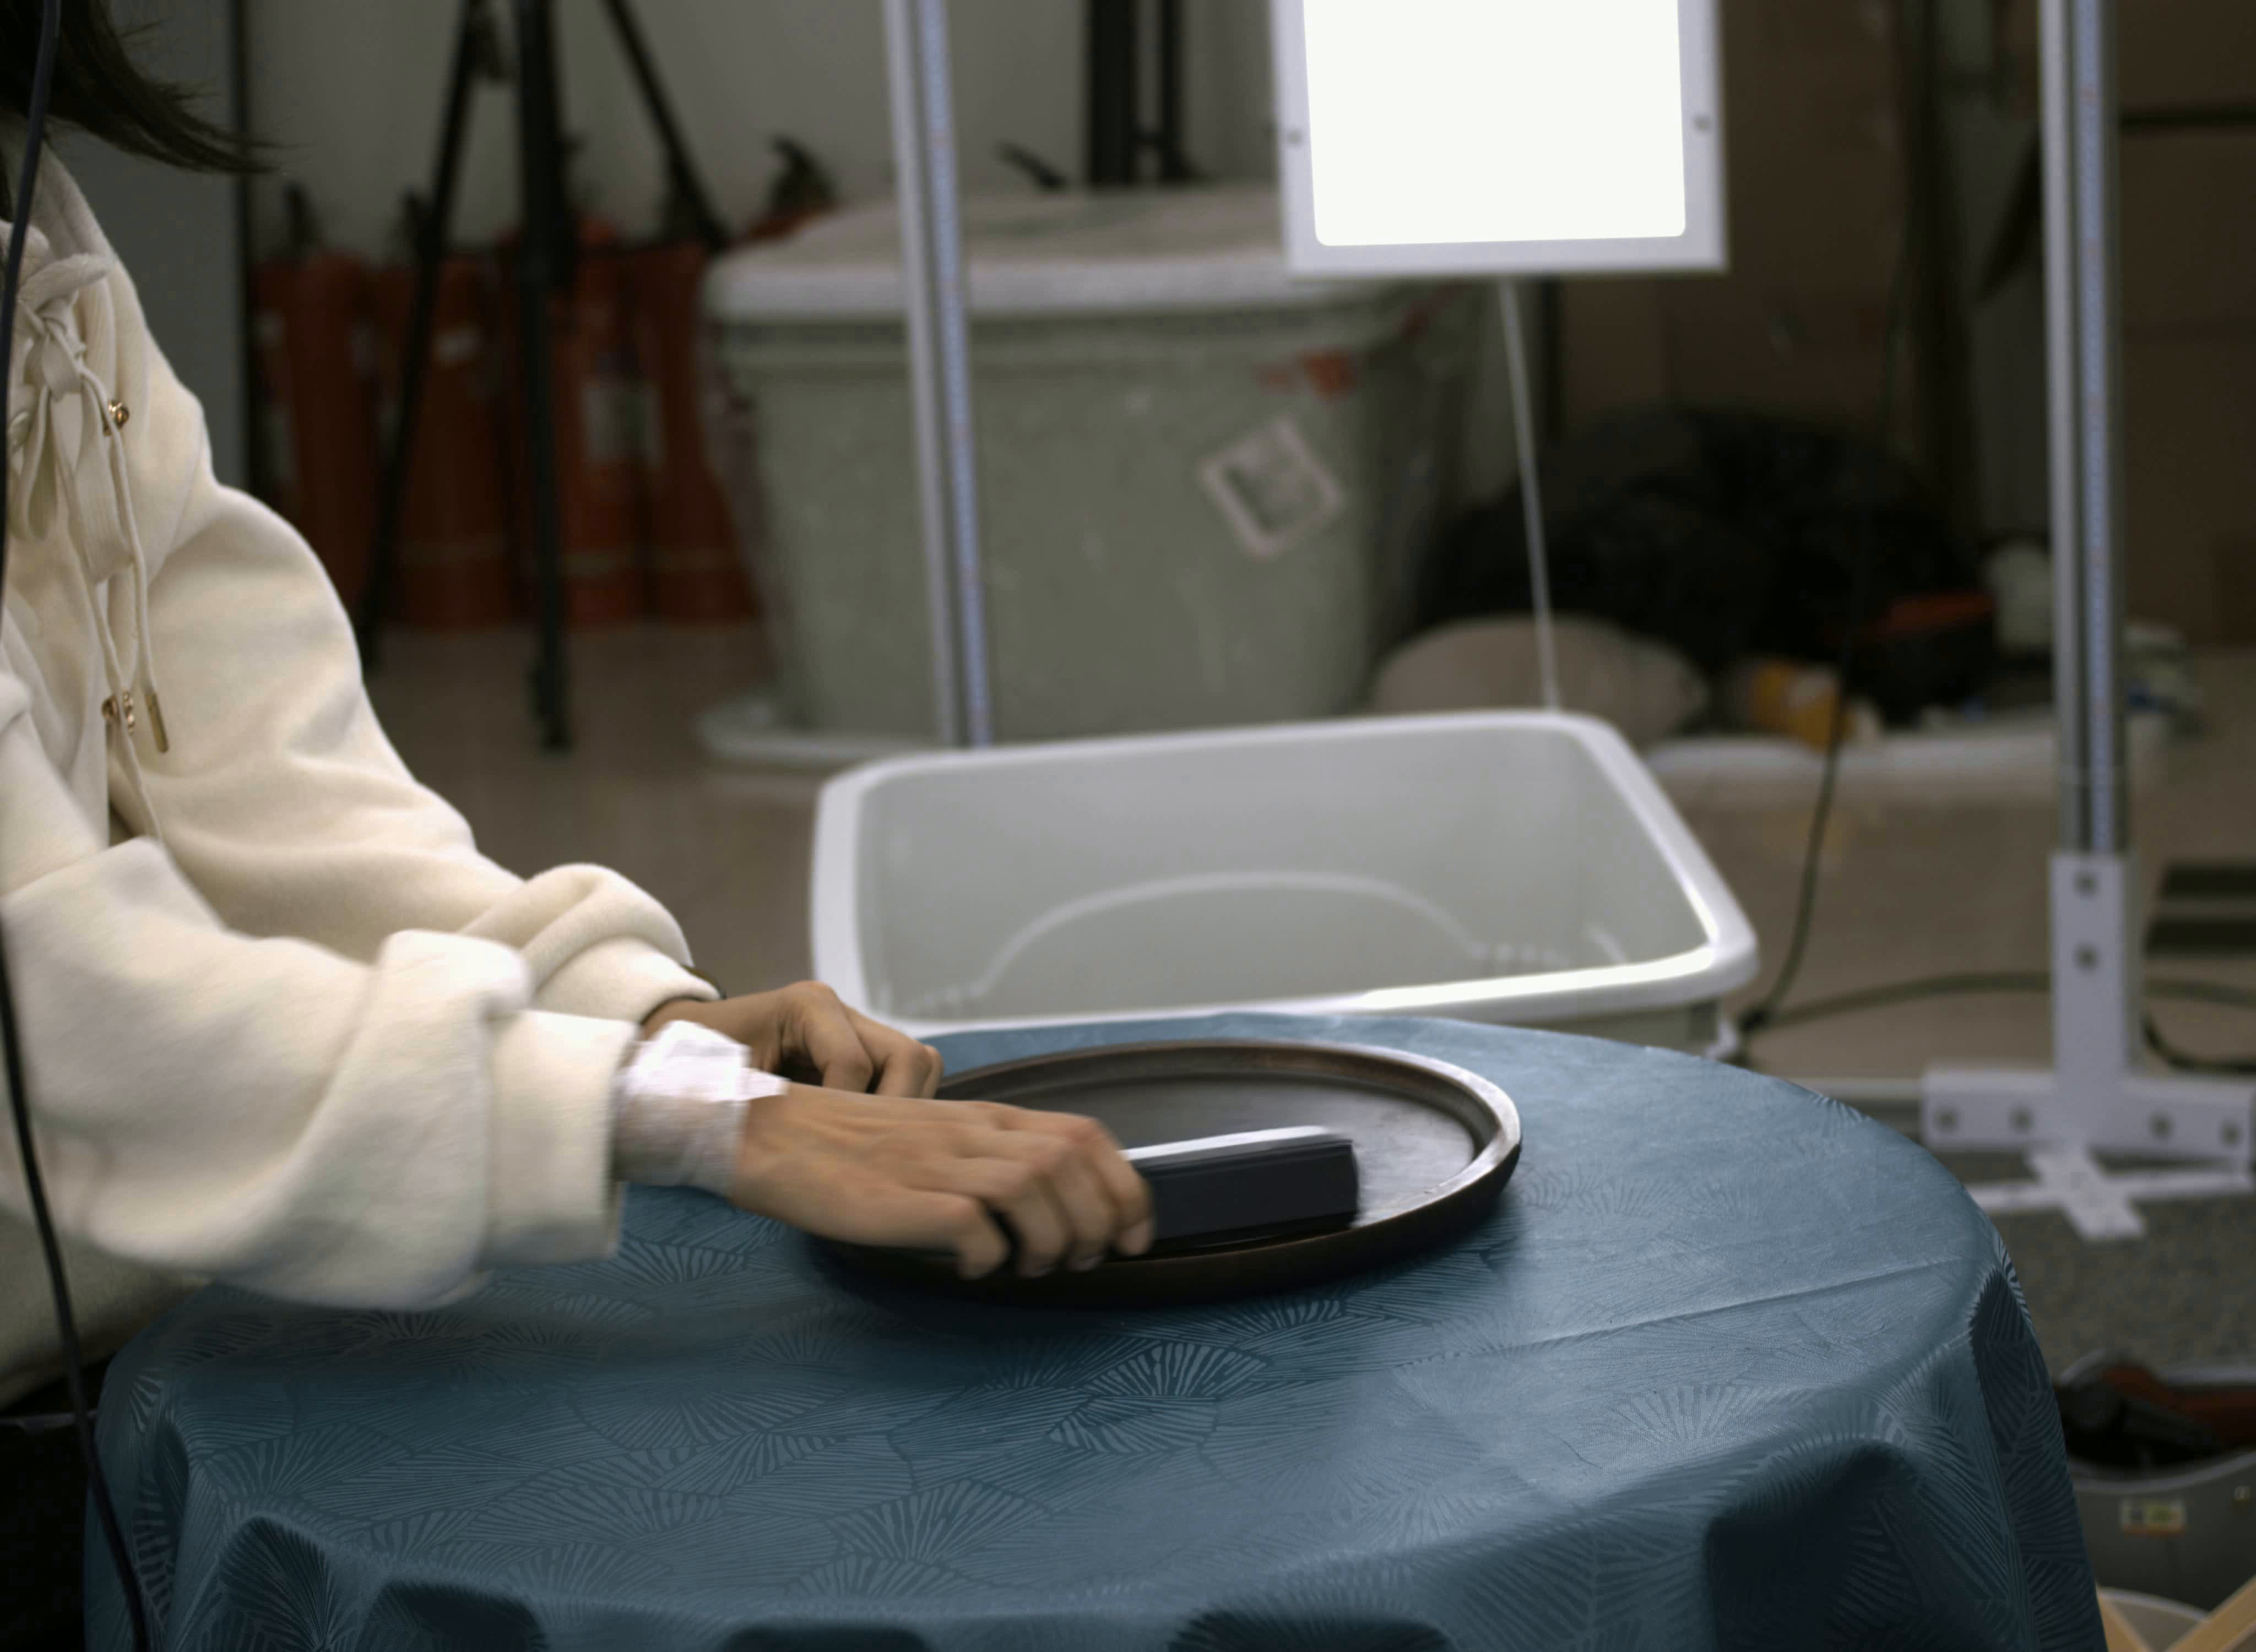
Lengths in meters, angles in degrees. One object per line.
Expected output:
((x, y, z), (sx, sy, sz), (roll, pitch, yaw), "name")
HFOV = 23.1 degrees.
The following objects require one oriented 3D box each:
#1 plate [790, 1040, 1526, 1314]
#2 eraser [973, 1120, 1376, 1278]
((0.010, 0.117, 1.881), (0.254, 0.029, 0.254), (-4, 14, 0), "plate")
((0.016, 0.120, 1.781), (0.124, 0.030, 0.054), (-9, 5, -12), "eraser")
